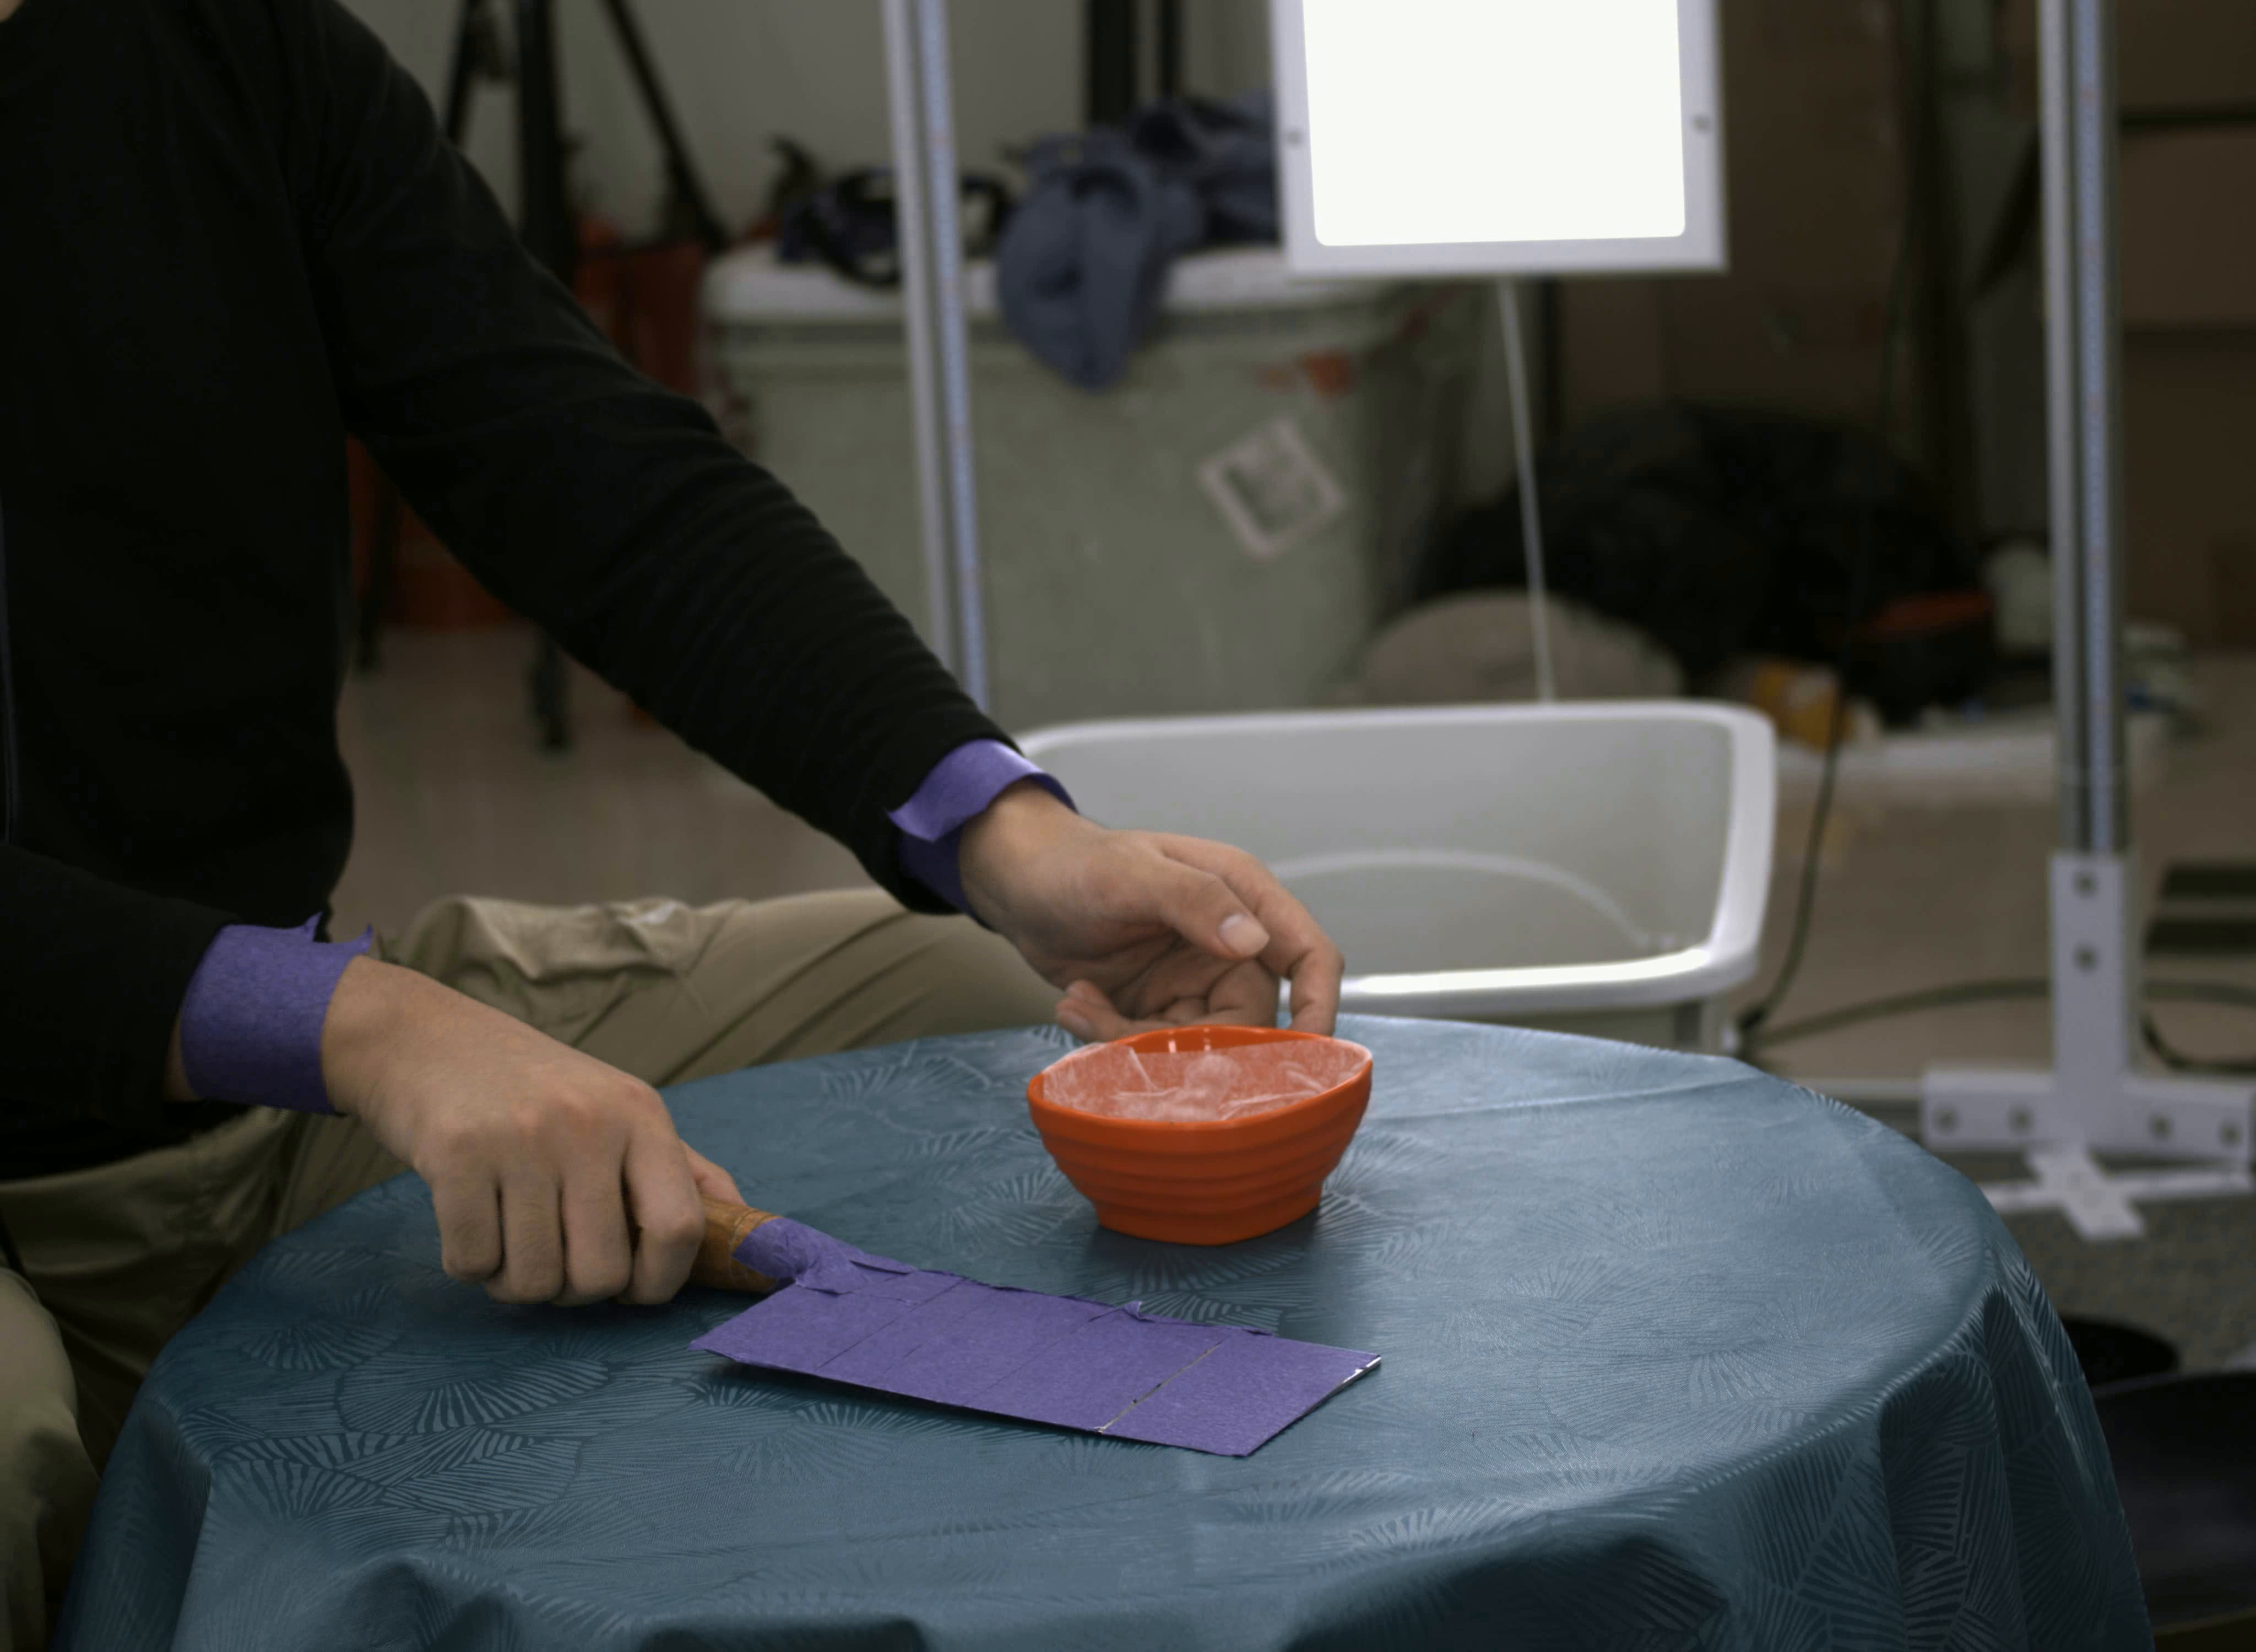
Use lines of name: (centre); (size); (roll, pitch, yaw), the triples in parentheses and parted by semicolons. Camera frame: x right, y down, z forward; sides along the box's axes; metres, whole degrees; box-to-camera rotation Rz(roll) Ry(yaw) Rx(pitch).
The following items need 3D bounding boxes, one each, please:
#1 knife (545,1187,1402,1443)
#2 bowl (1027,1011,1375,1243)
knife: (-0.072, 0.155, 1.756); (0.321, 0.032, 0.101); (5, 17, 33)
bowl: (0.026, 0.104, 1.863); (0.118, 0.051, 0.119); (-4, 17, 0)
